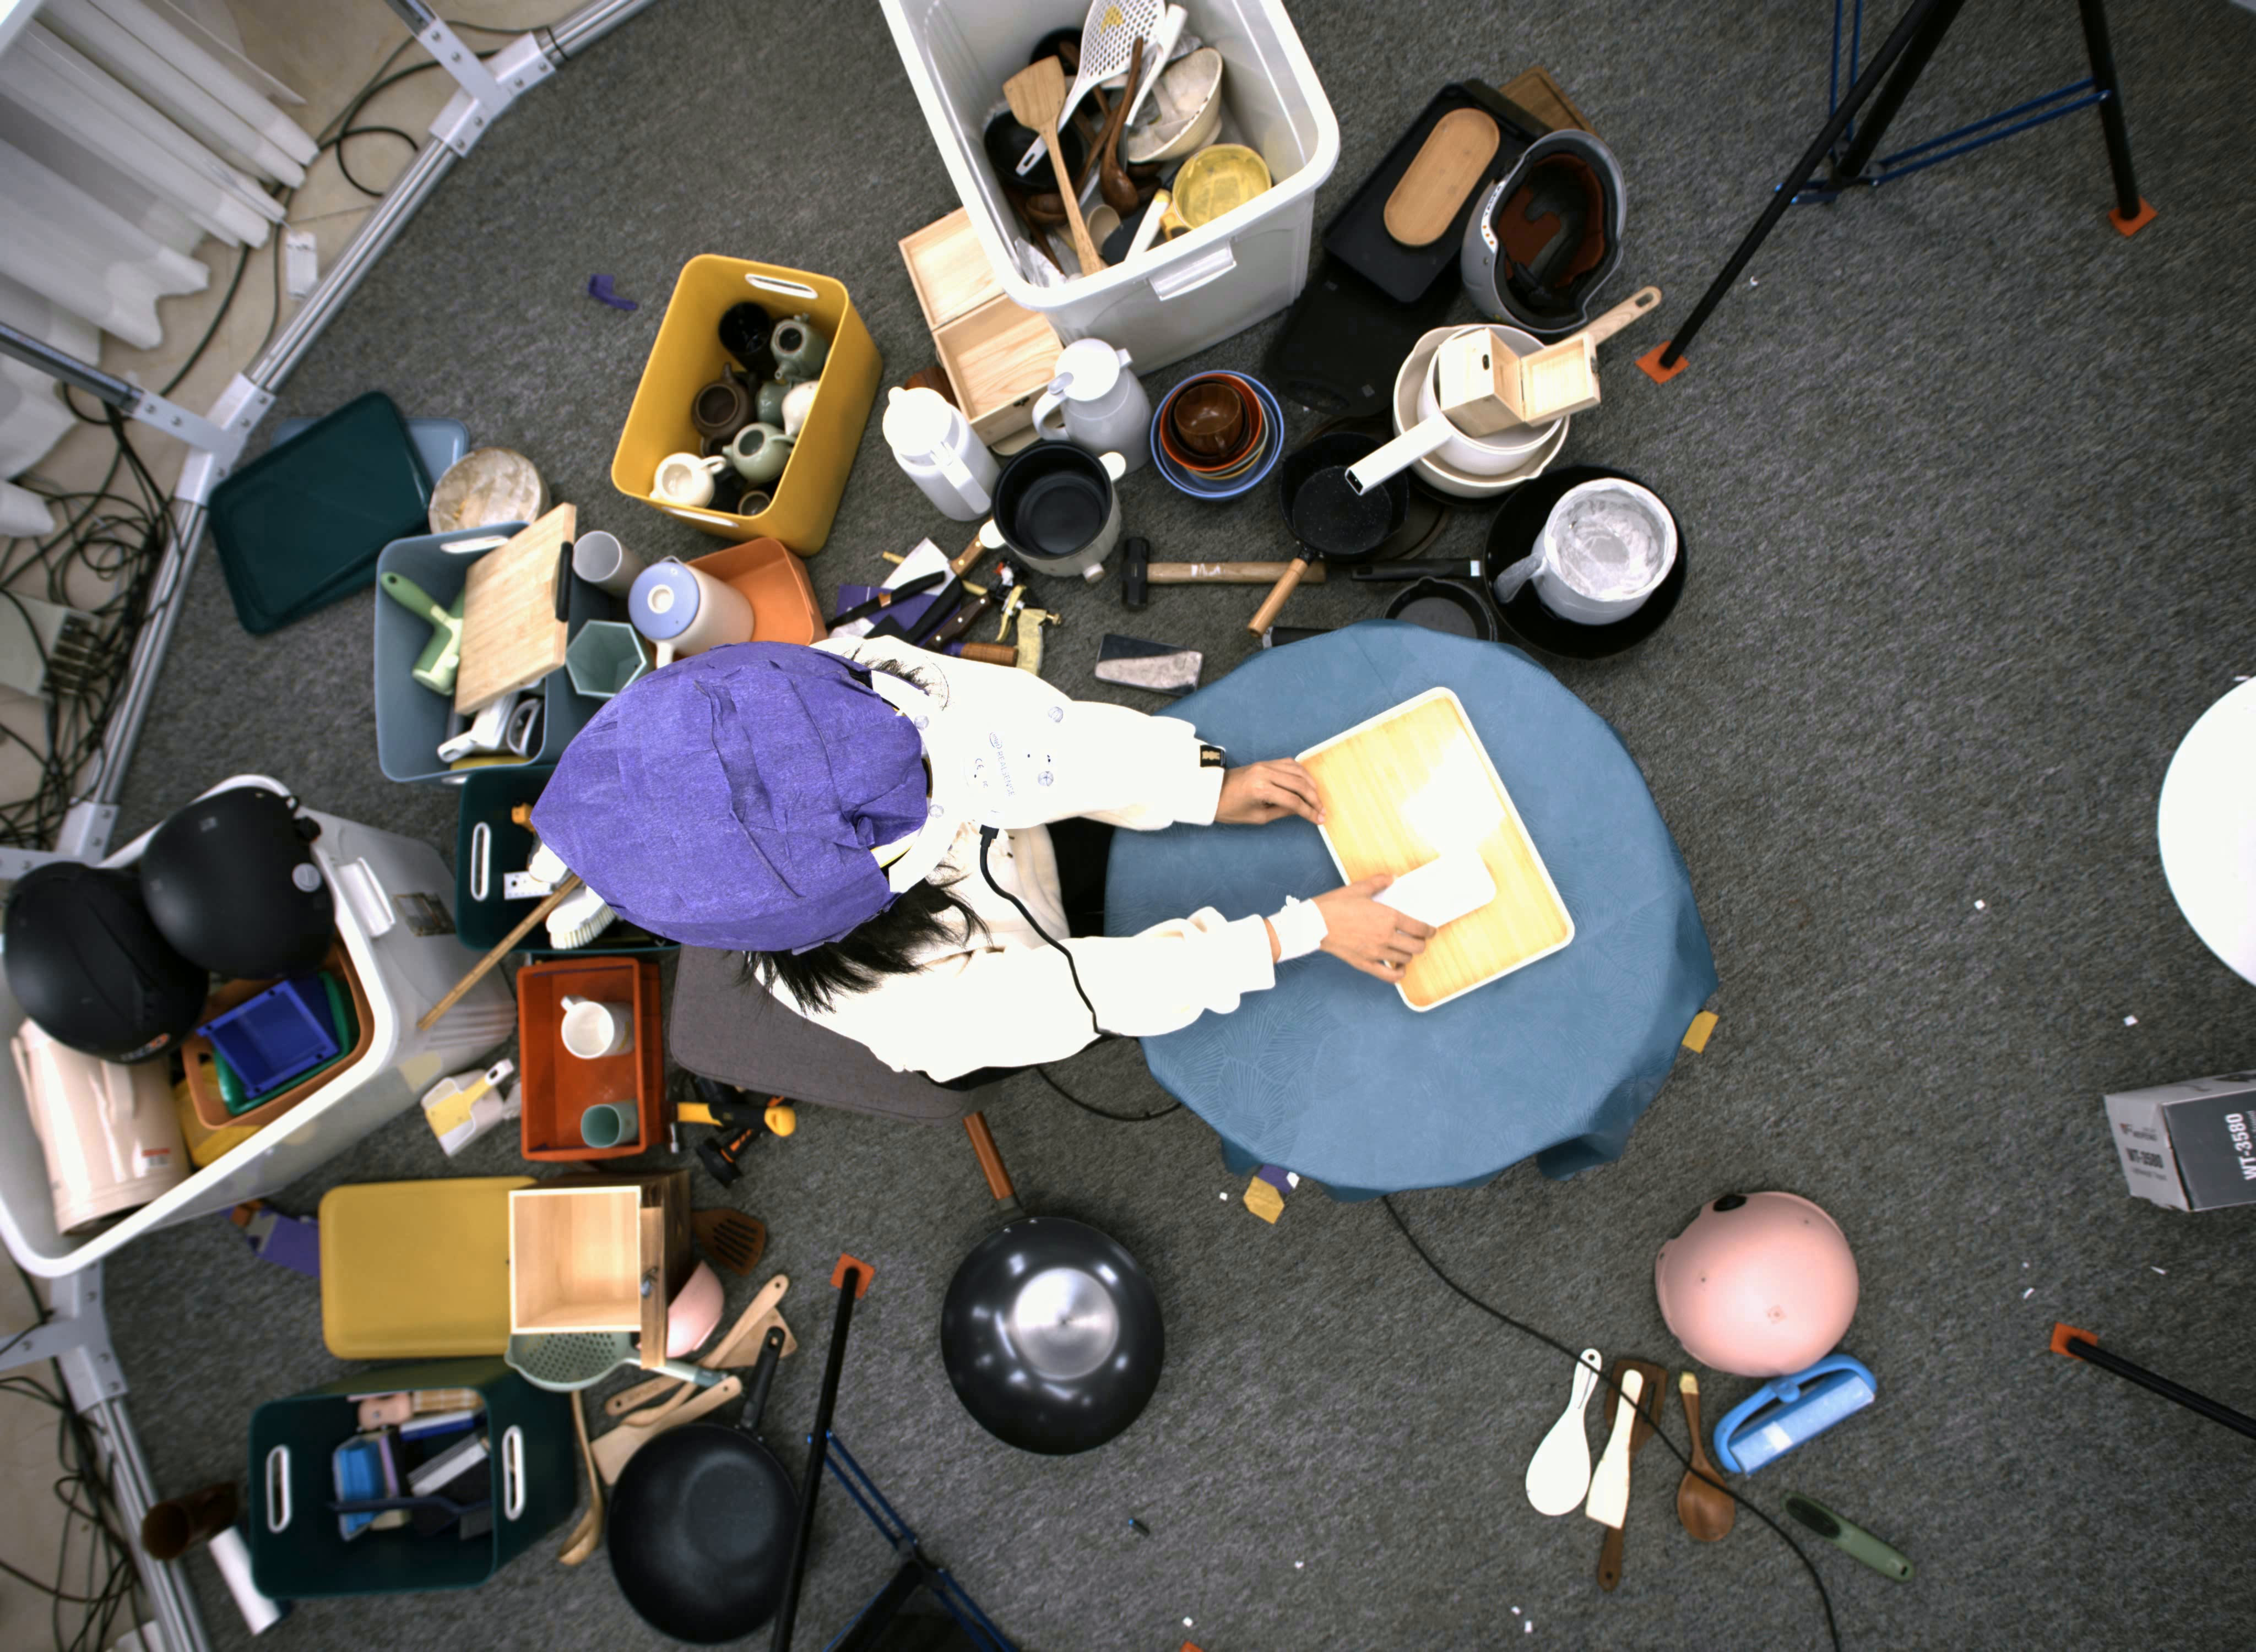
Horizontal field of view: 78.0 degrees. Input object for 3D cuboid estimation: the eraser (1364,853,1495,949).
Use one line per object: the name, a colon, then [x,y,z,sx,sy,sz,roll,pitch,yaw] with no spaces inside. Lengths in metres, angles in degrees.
eraser: [0.311,0.076,1.430,0.132,0.034,0.063,-26,81,9]

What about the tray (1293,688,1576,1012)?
tray: [0.317,0.022,1.441,0.192,0.027,0.298,-26,83,7]
